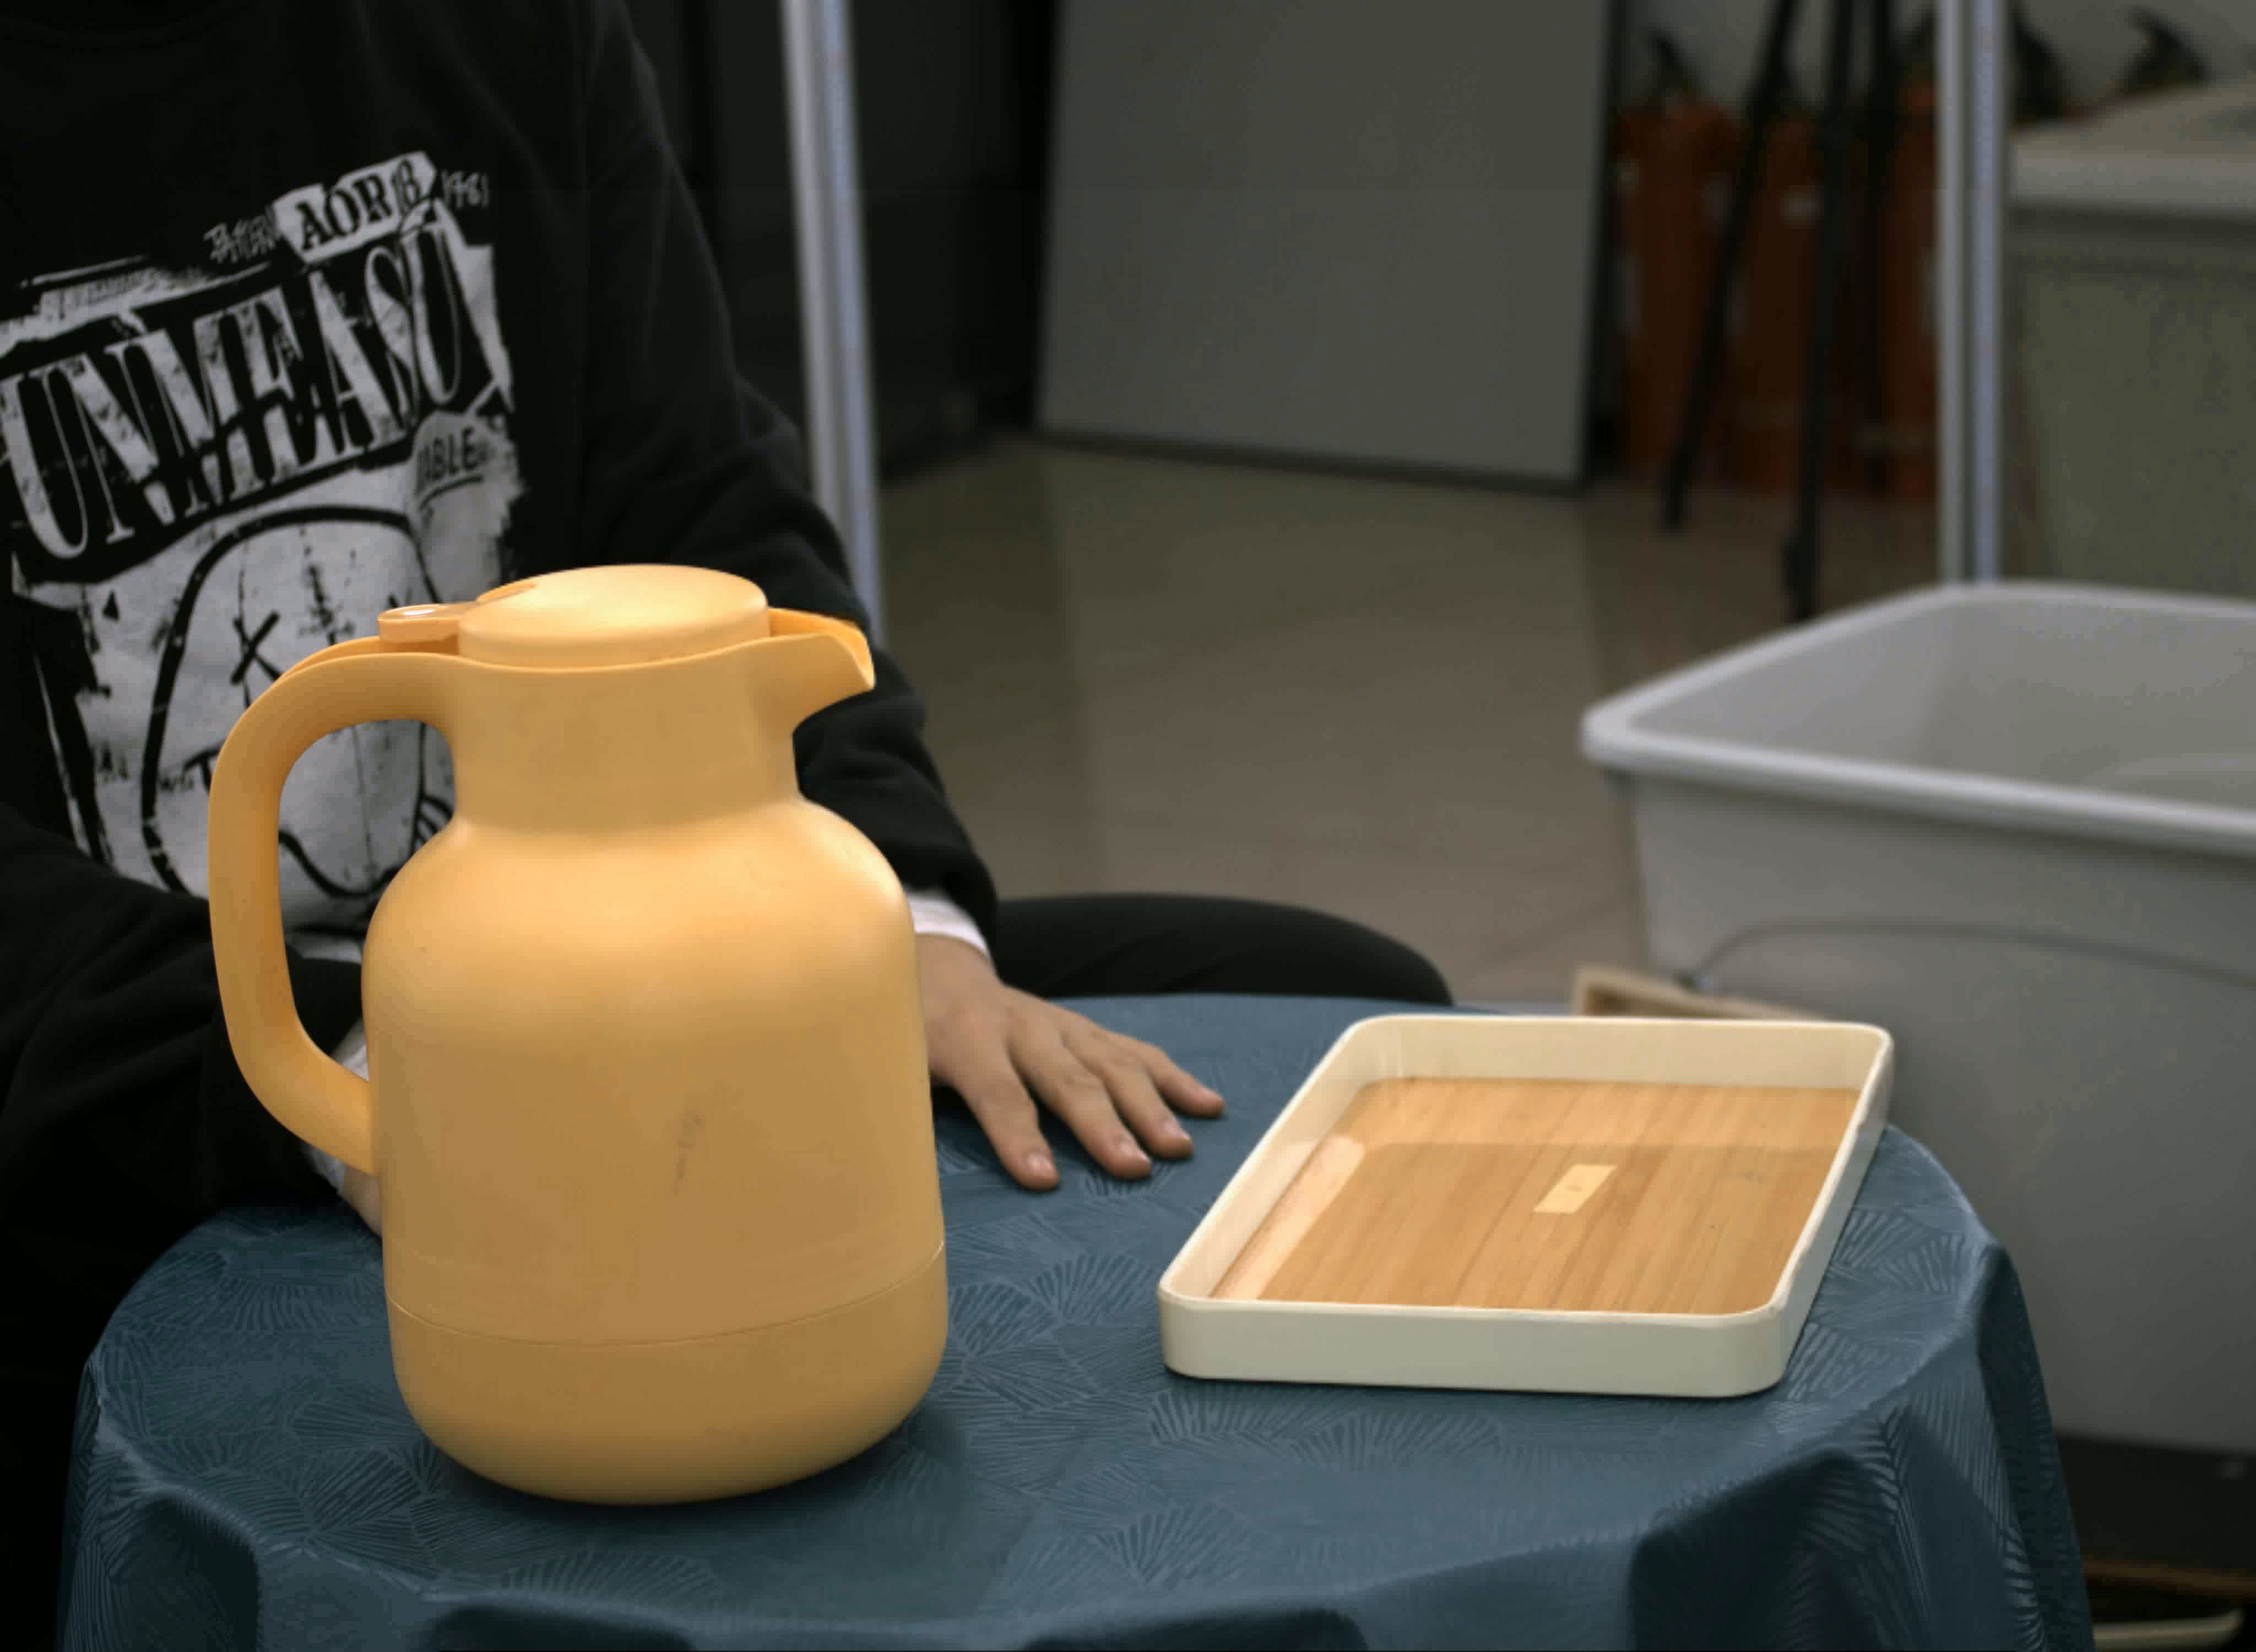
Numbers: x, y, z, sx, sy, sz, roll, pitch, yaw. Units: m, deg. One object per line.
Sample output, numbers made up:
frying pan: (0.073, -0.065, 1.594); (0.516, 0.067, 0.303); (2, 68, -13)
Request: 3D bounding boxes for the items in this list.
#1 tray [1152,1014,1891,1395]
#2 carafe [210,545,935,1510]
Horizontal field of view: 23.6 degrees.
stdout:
tray: (0.132, 0.115, 1.702); (0.191, 0.028, 0.298); (0, 14, 16)
carafe: (-0.158, 0.053, 1.549); (0.201, 0.263, 0.163); (-1, 11, 8)
